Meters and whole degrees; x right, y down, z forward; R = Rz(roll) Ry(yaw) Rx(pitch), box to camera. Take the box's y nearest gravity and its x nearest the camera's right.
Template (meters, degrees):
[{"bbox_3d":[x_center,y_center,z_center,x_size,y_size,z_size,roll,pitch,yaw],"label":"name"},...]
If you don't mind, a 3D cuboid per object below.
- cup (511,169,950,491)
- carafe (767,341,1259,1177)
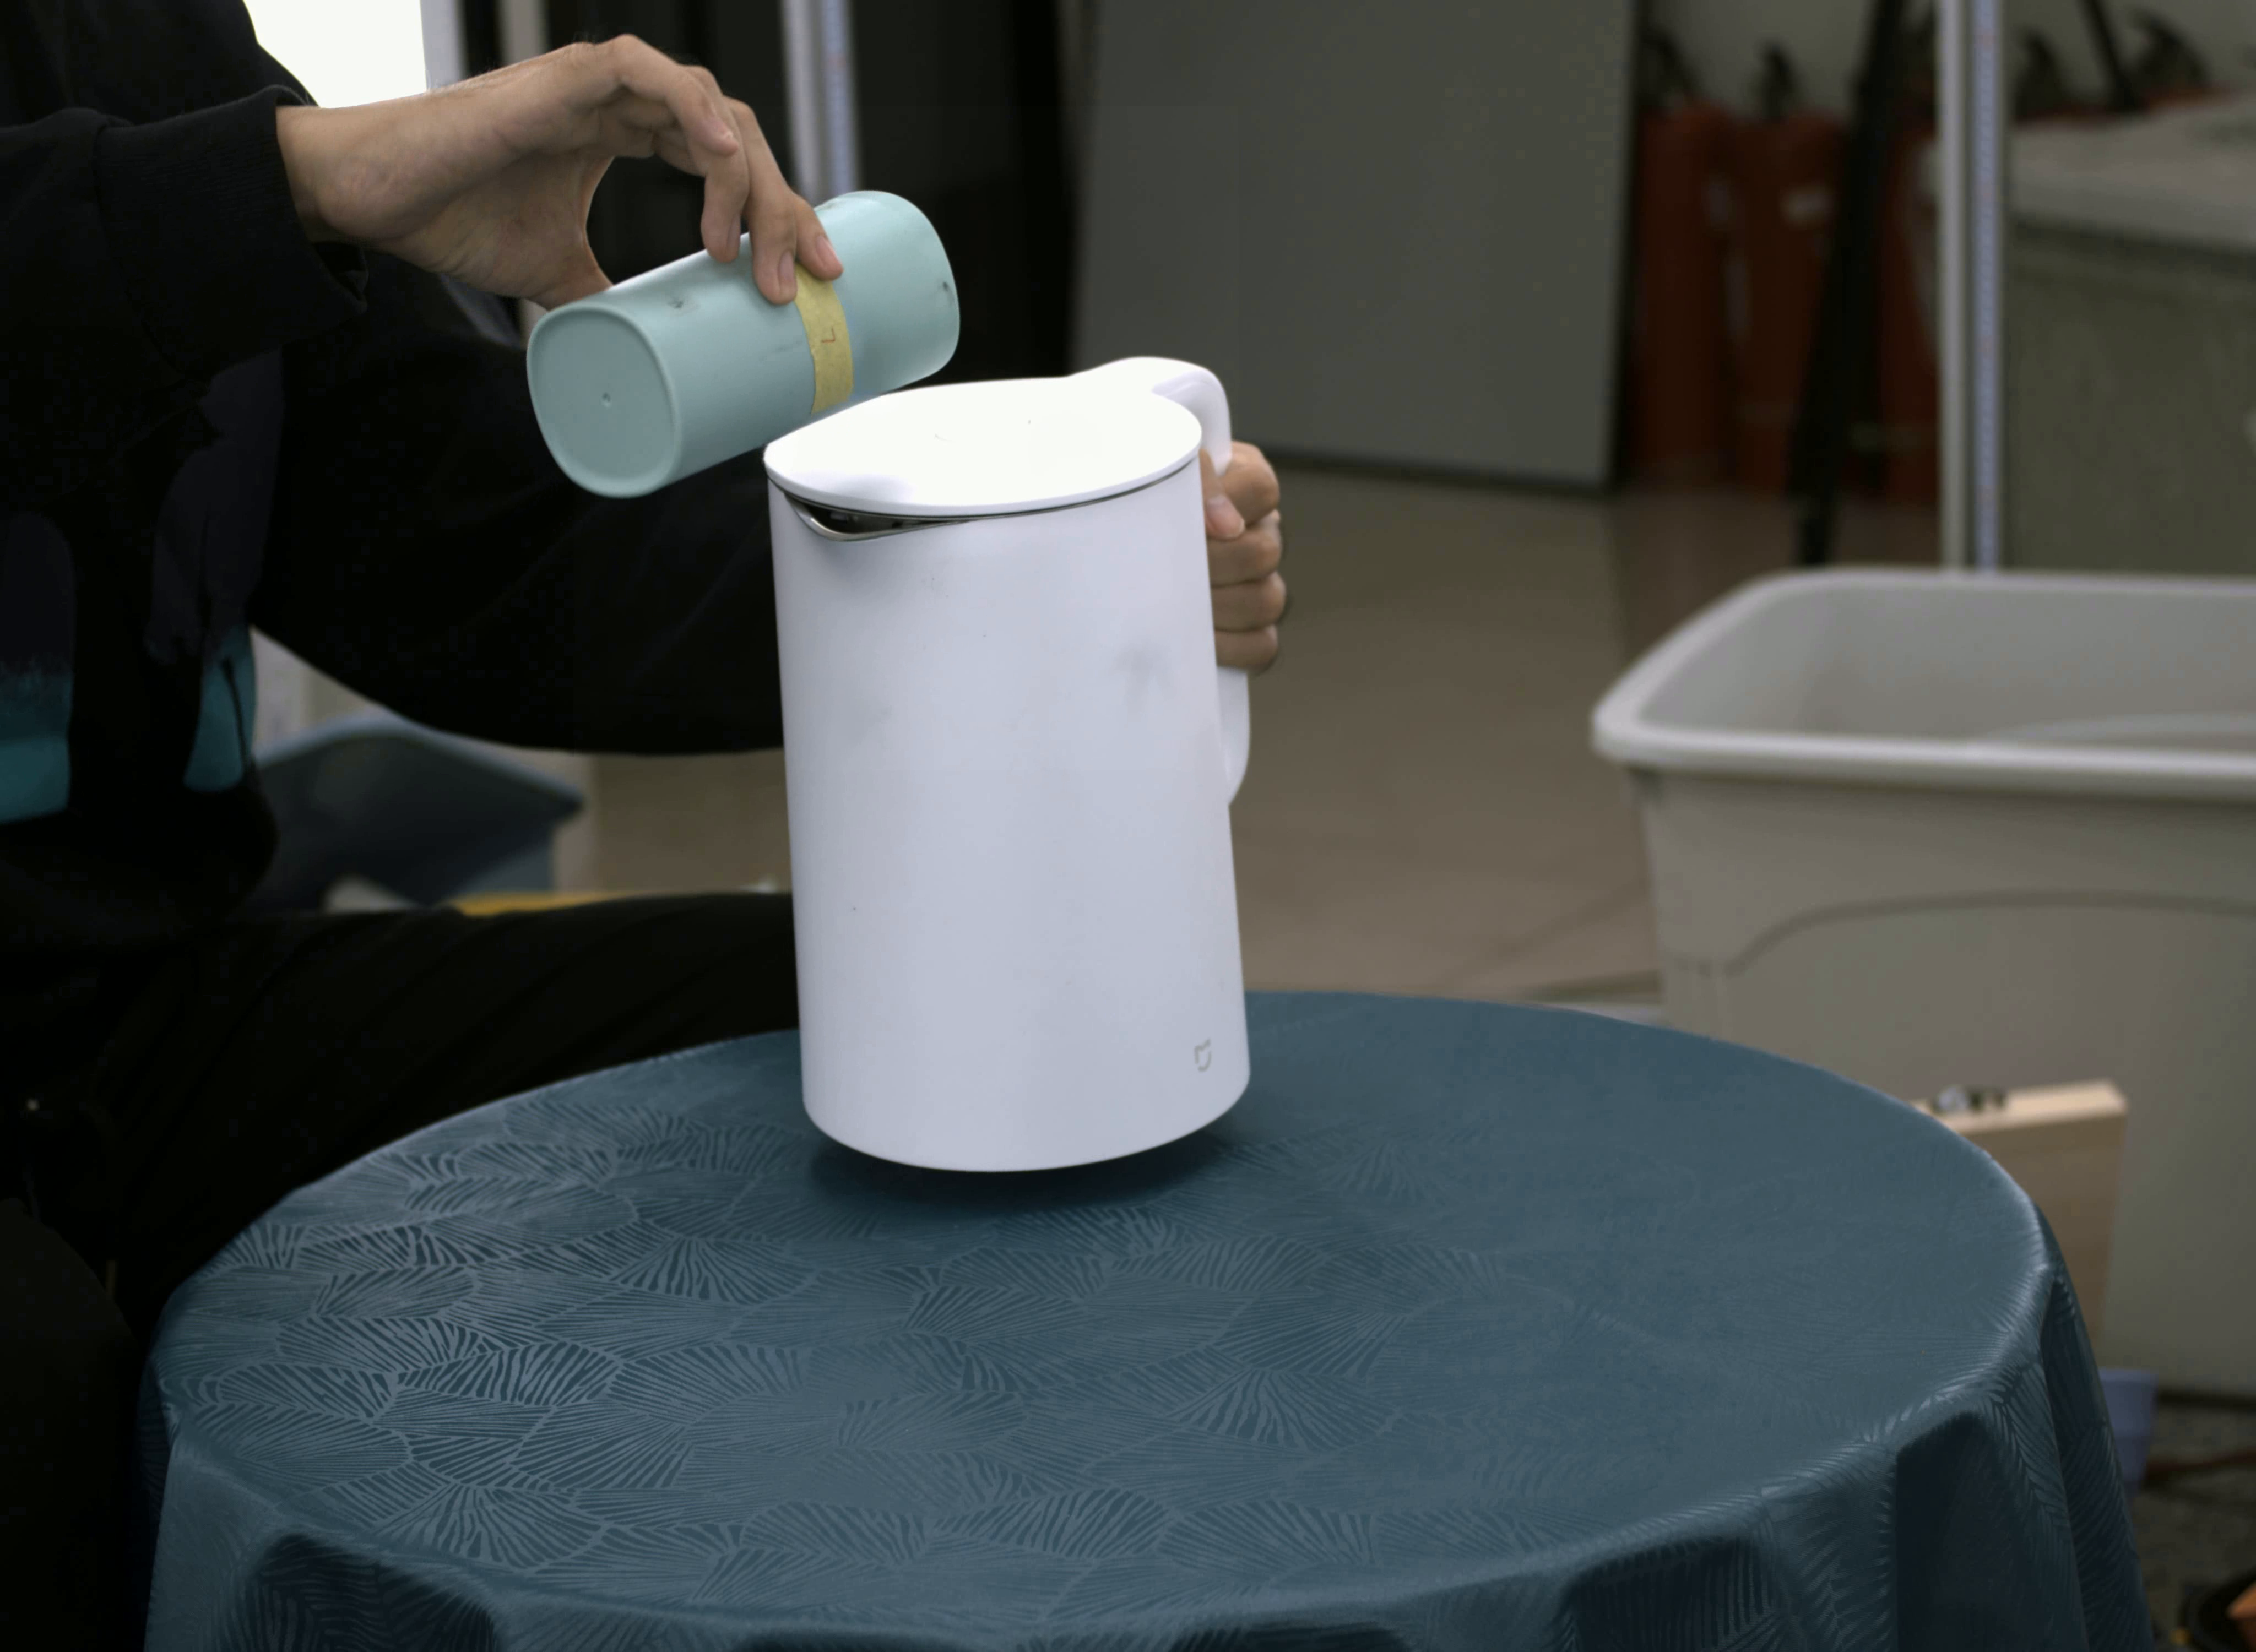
[{"bbox_3d":[-0.121,-0.152,1.652,0.067,0.067,0.130,8,26,41],"label":"cup"},{"bbox_3d":[-0.024,-0.029,1.806,0.153,0.242,0.210,10,25,34],"label":"carafe"}]
